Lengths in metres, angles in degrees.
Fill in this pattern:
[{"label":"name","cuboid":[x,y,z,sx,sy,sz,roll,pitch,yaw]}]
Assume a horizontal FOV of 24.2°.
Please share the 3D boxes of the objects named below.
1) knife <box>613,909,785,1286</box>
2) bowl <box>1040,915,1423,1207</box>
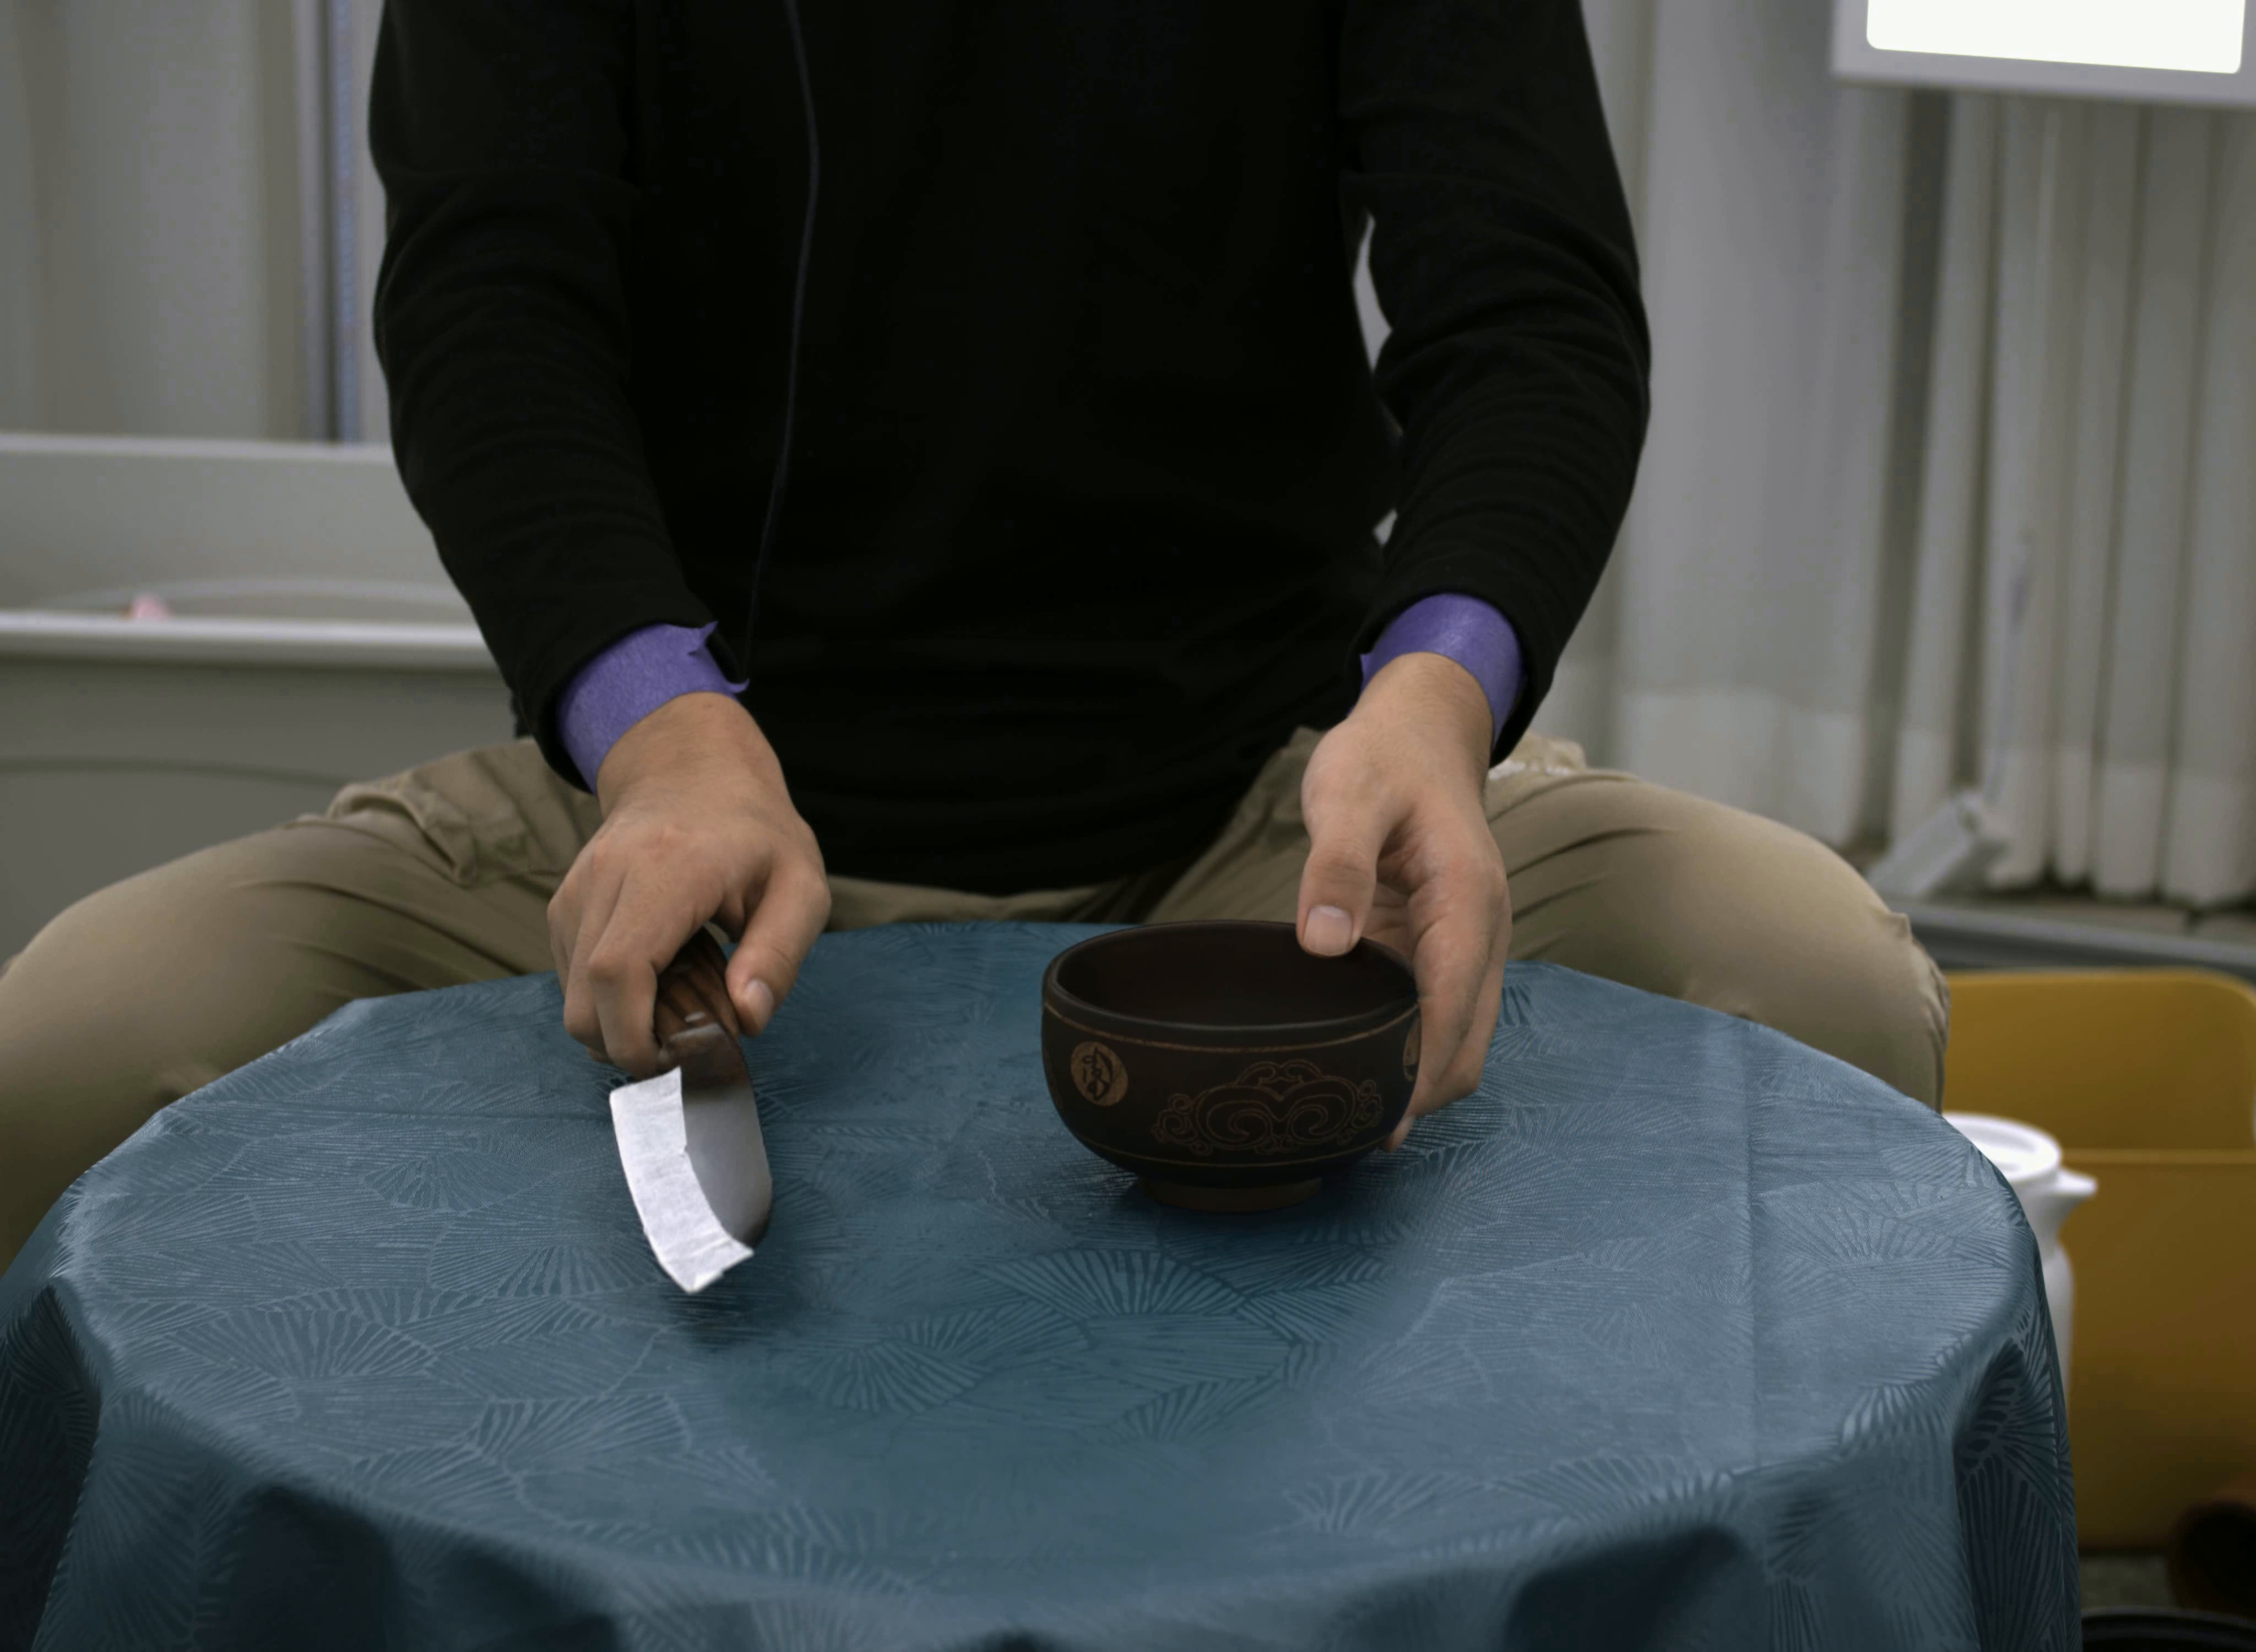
[{"label":"knife","cuboid":[-0.134,0.082,1.611,0.050,0.020,0.286,-18,20,-1]},{"label":"bowl","cuboid":[0.032,0.076,1.620,0.117,0.070,0.117,1,15,0]}]
